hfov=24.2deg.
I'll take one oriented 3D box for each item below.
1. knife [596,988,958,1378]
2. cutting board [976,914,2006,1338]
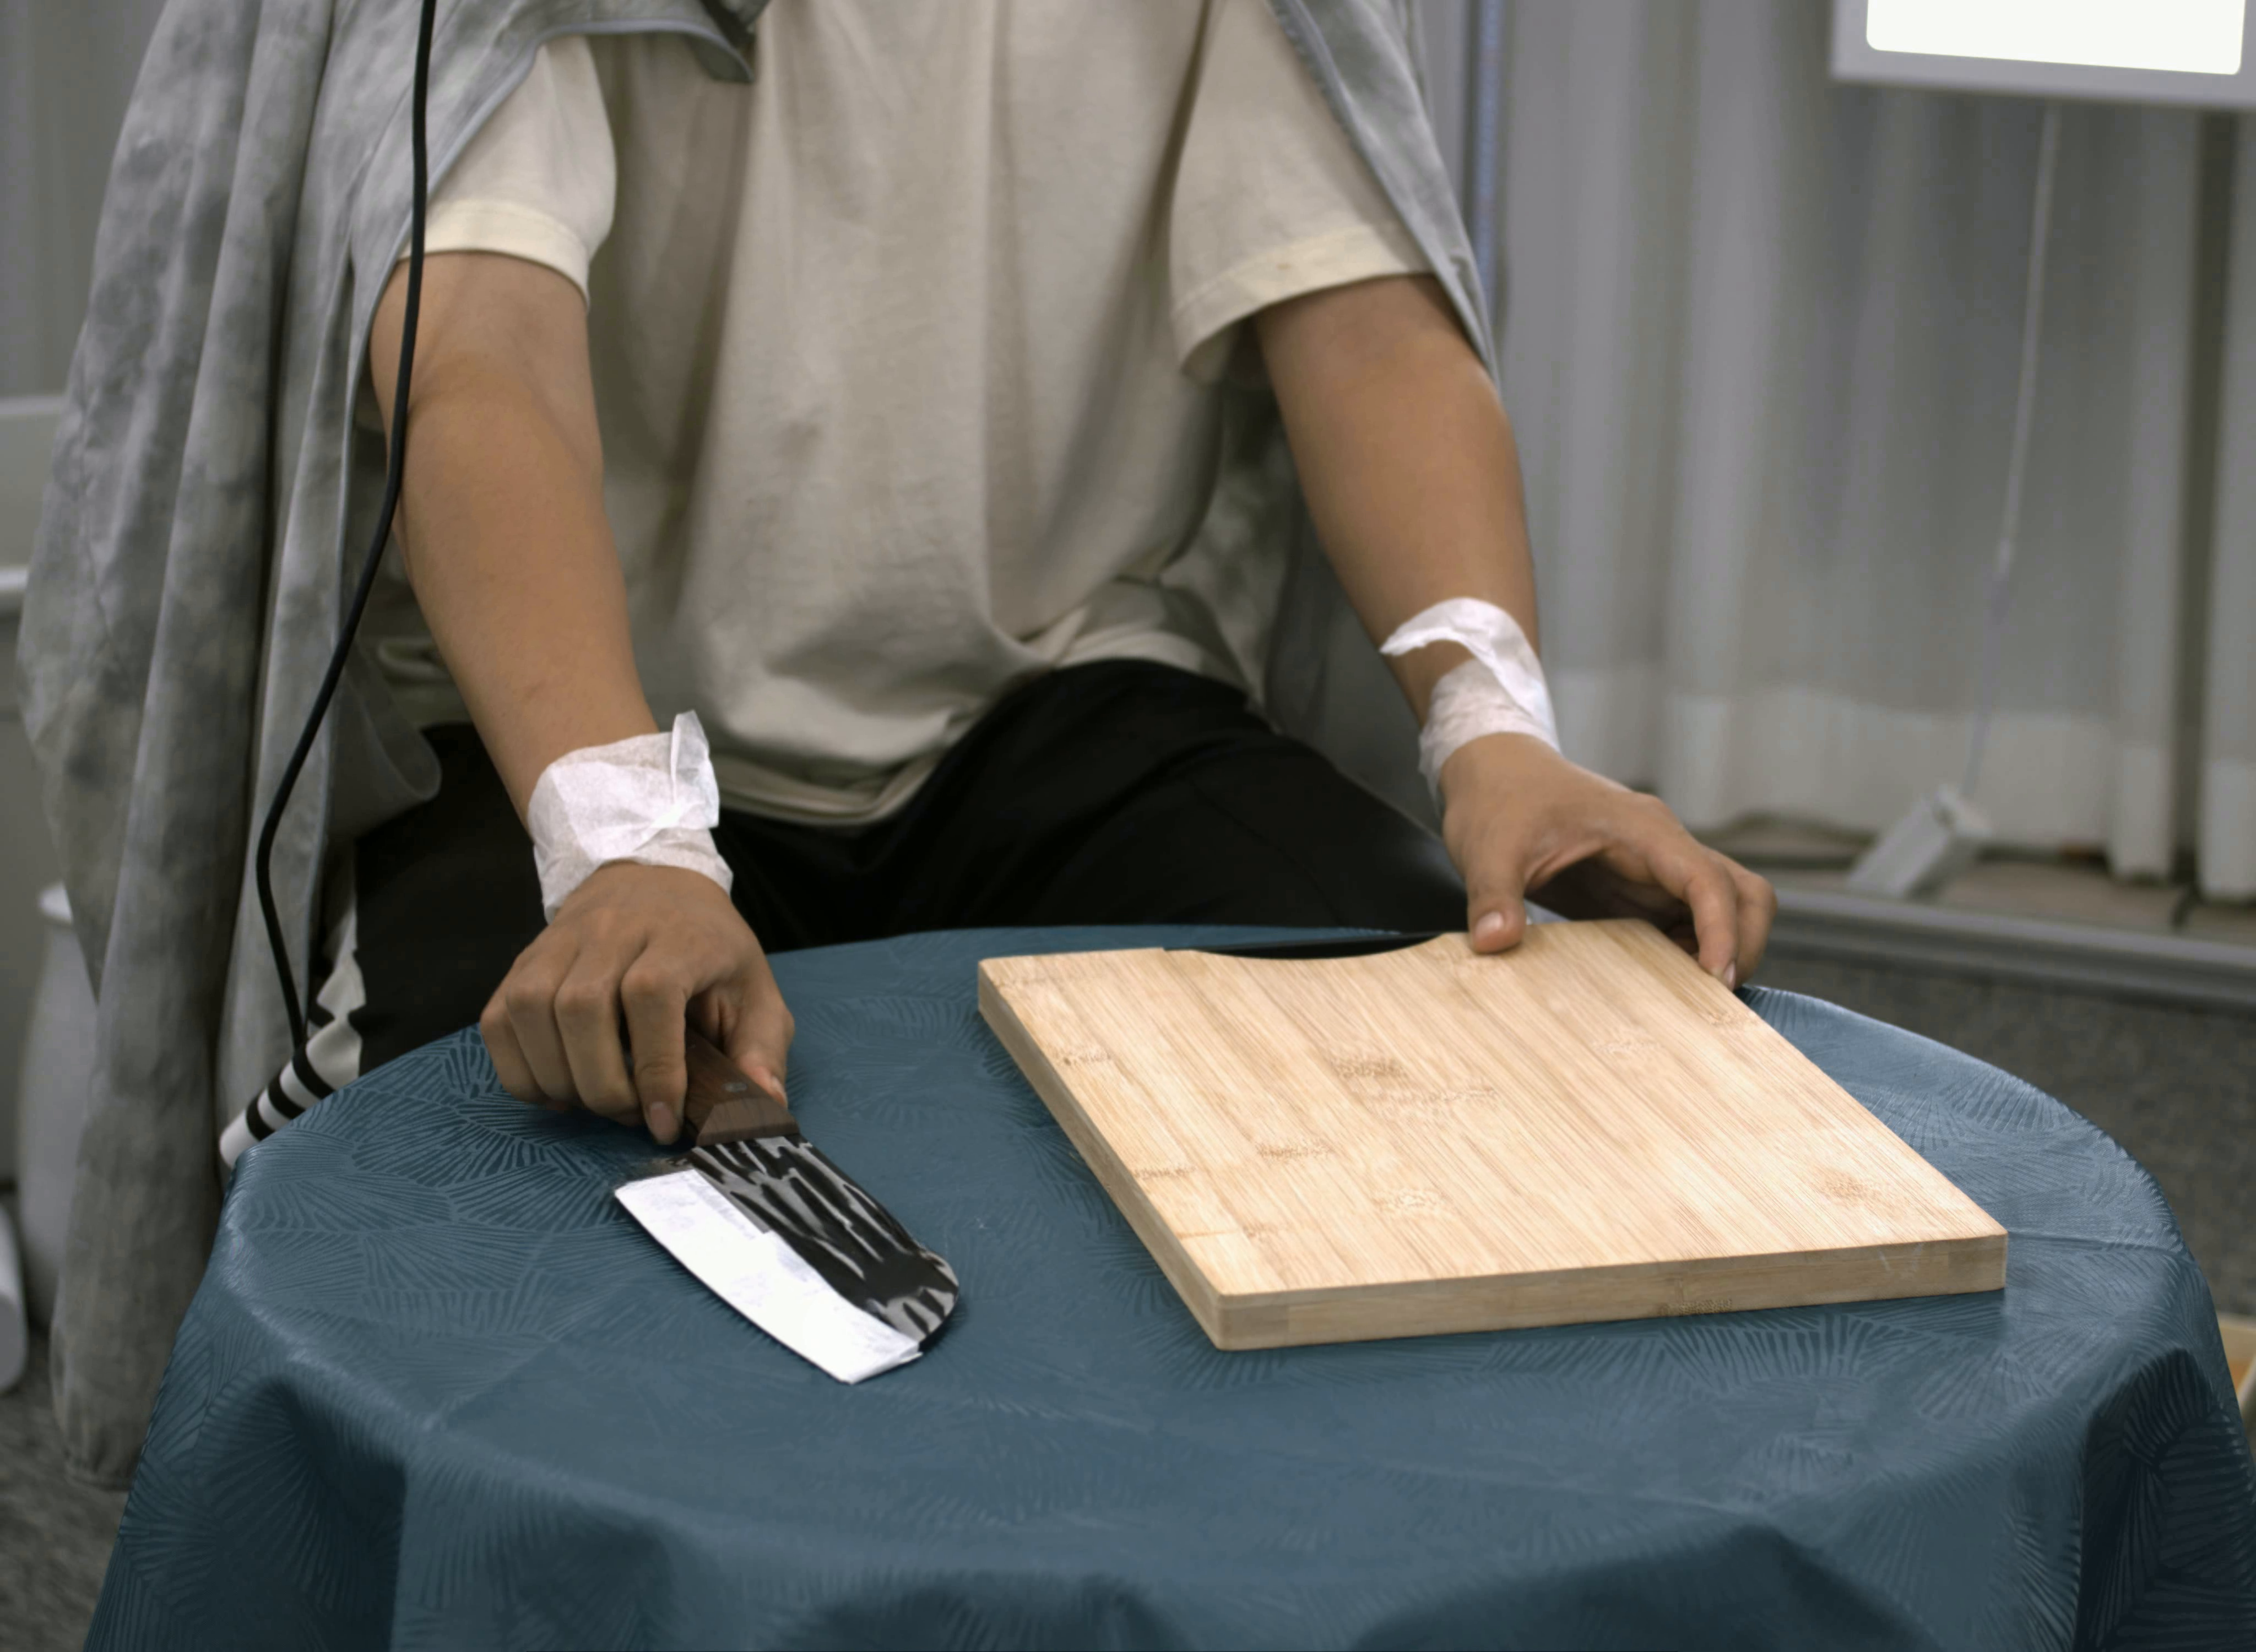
[{"bbox_3d":[-0.120,0.108,1.602,0.068,0.024,0.296,-10,21,-23],"label":"knife"},{"bbox_3d":[0.103,0.090,1.681,0.251,0.024,0.345,-3,16,-14],"label":"cutting board"}]
